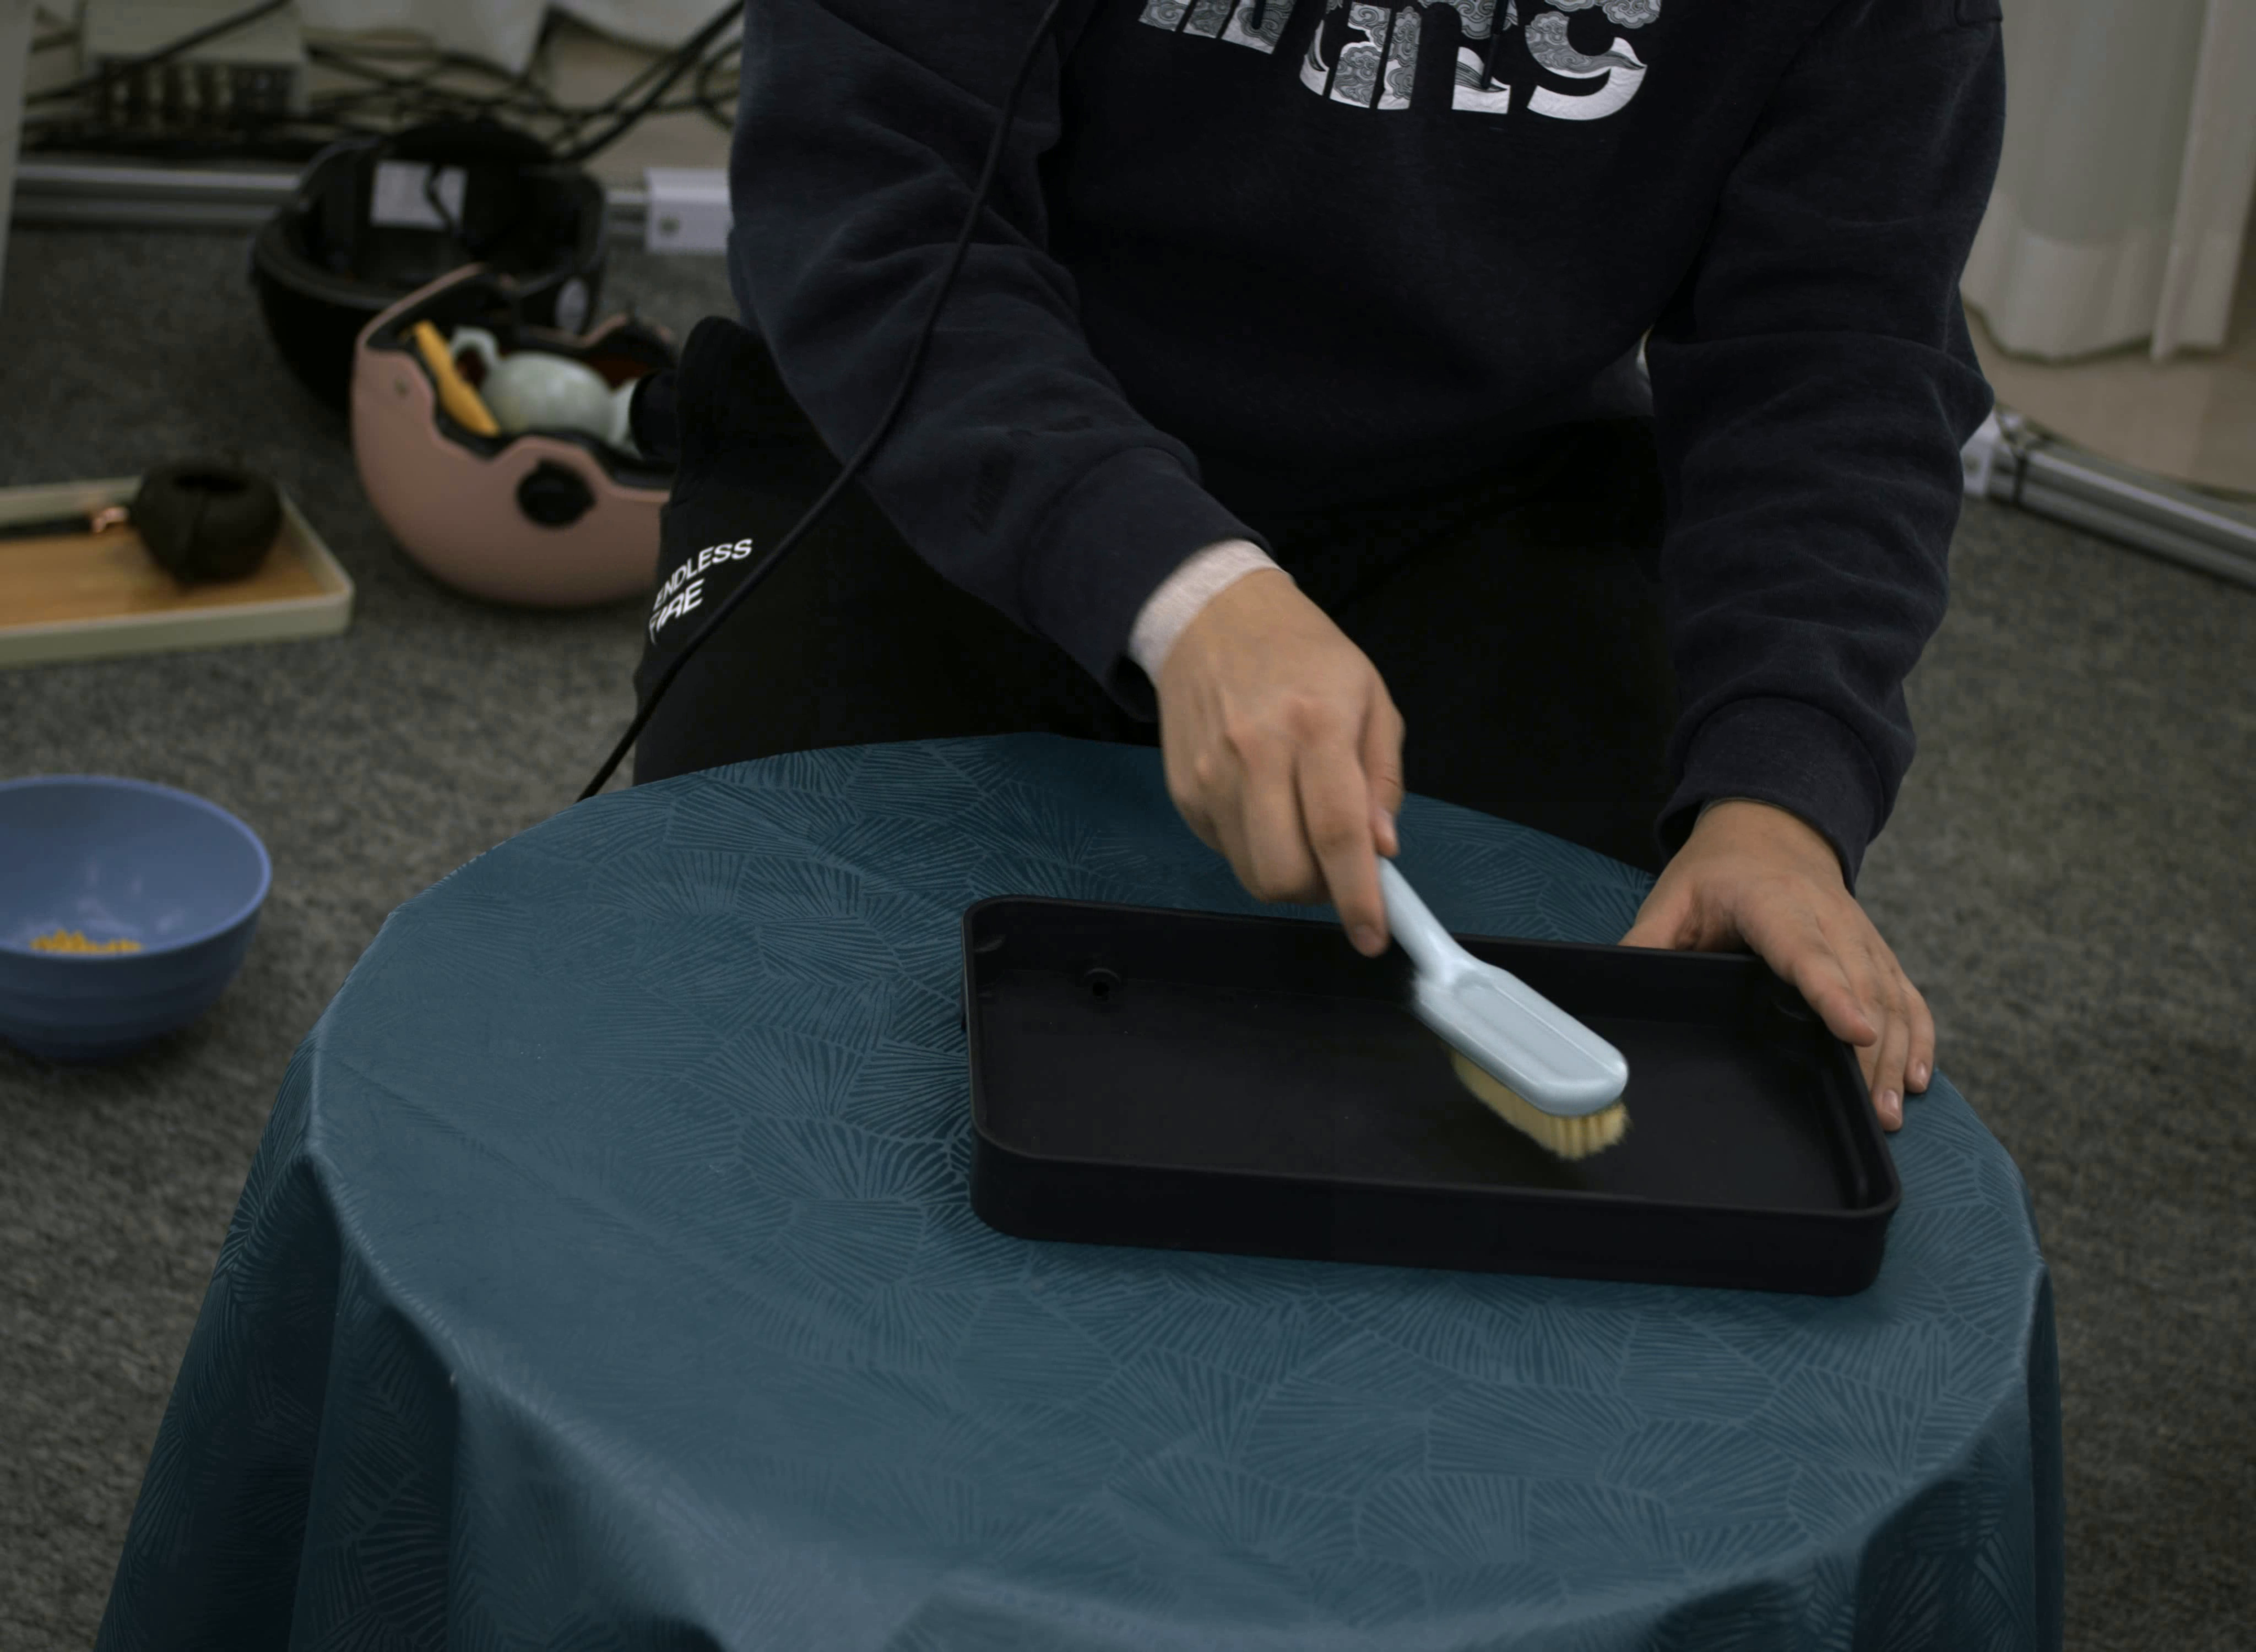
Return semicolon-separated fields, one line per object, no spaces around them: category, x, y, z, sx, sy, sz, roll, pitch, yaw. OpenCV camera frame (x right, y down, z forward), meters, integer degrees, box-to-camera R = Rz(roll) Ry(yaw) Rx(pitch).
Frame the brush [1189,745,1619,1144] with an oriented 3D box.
brush;0.094;0.039;1.884;0.037;0.049;0.231;-30;49;-21

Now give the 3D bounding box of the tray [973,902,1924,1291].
tray;0.105;0.093;1.853;0.316;0.037;0.185;4;26;-6
